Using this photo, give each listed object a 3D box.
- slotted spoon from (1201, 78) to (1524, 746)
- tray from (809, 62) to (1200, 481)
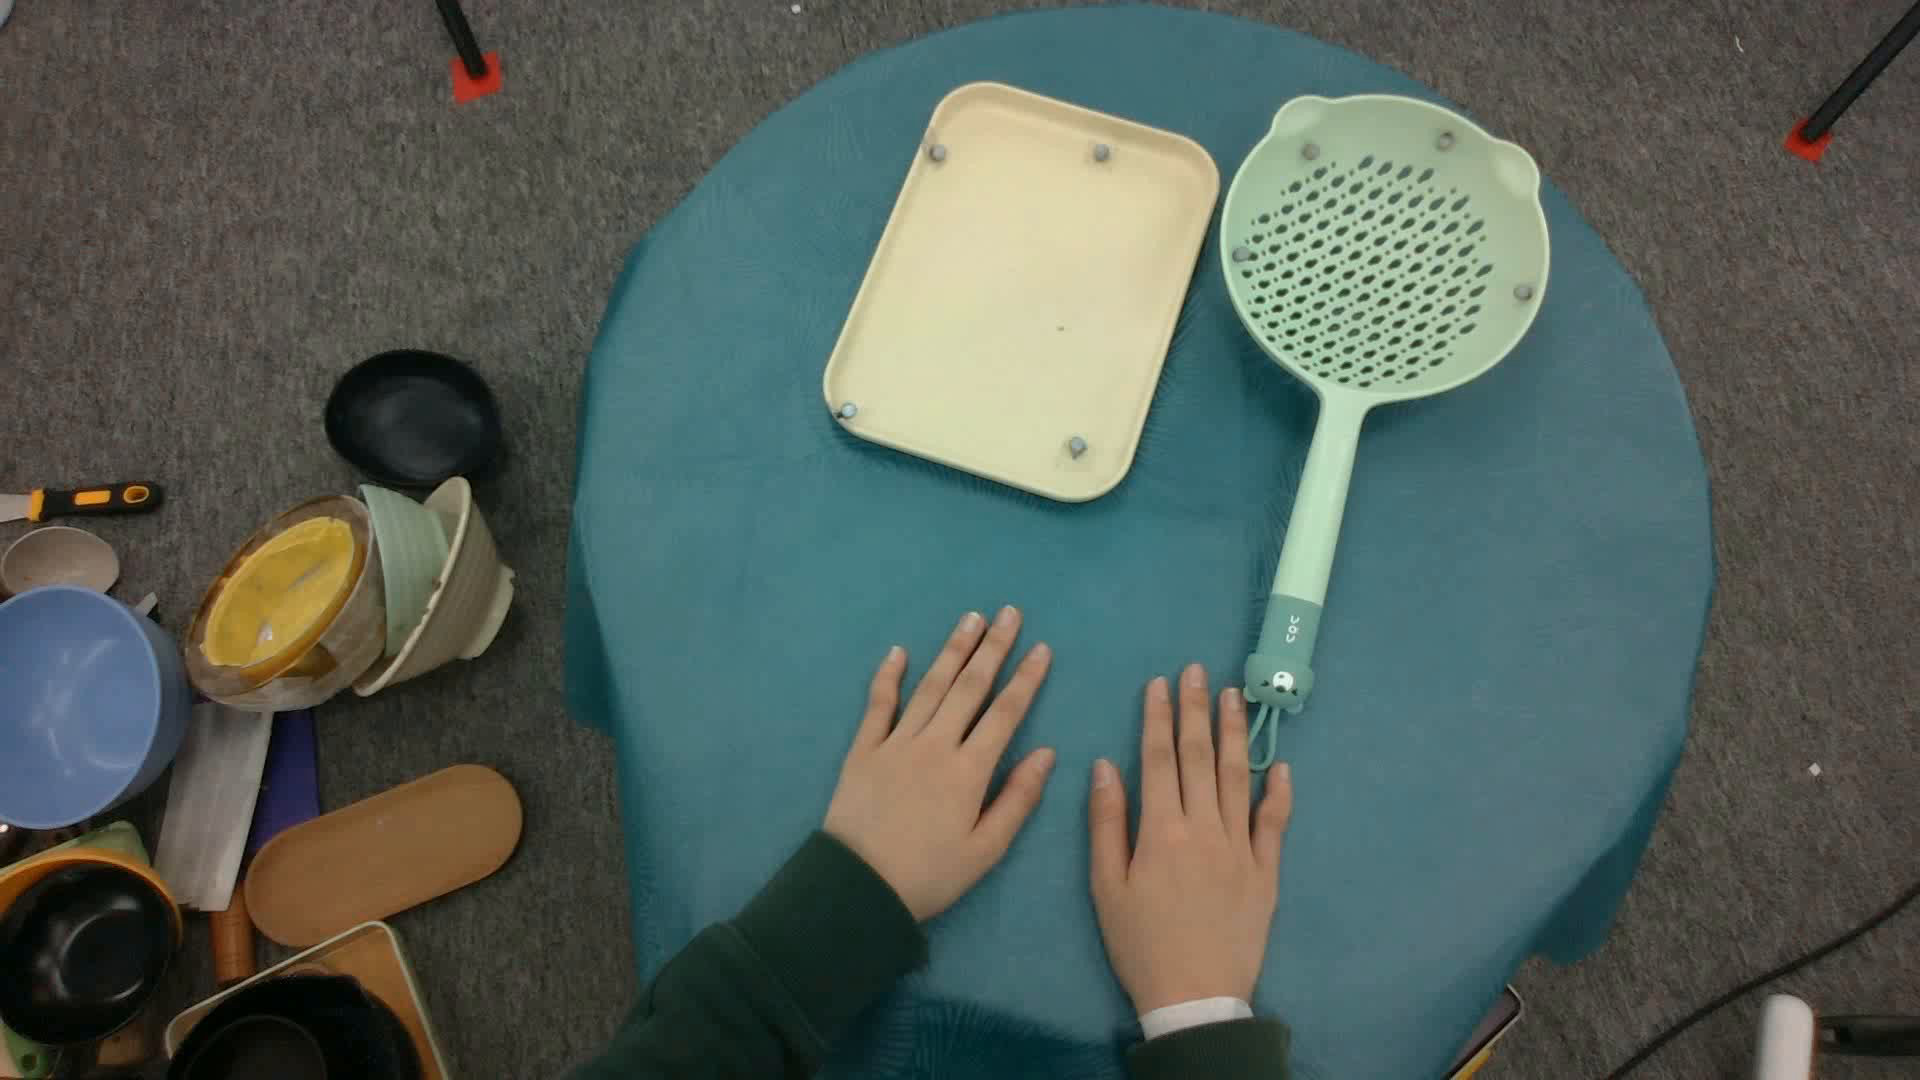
[{"bbox_3d":[0.185,-0.071,0.711,0.169,0.075,0.360,15,69,4],"label":"slotted spoon"},{"bbox_3d":[0.028,-0.152,0.761,0.171,0.017,0.240,17,70,5],"label":"tray"}]
